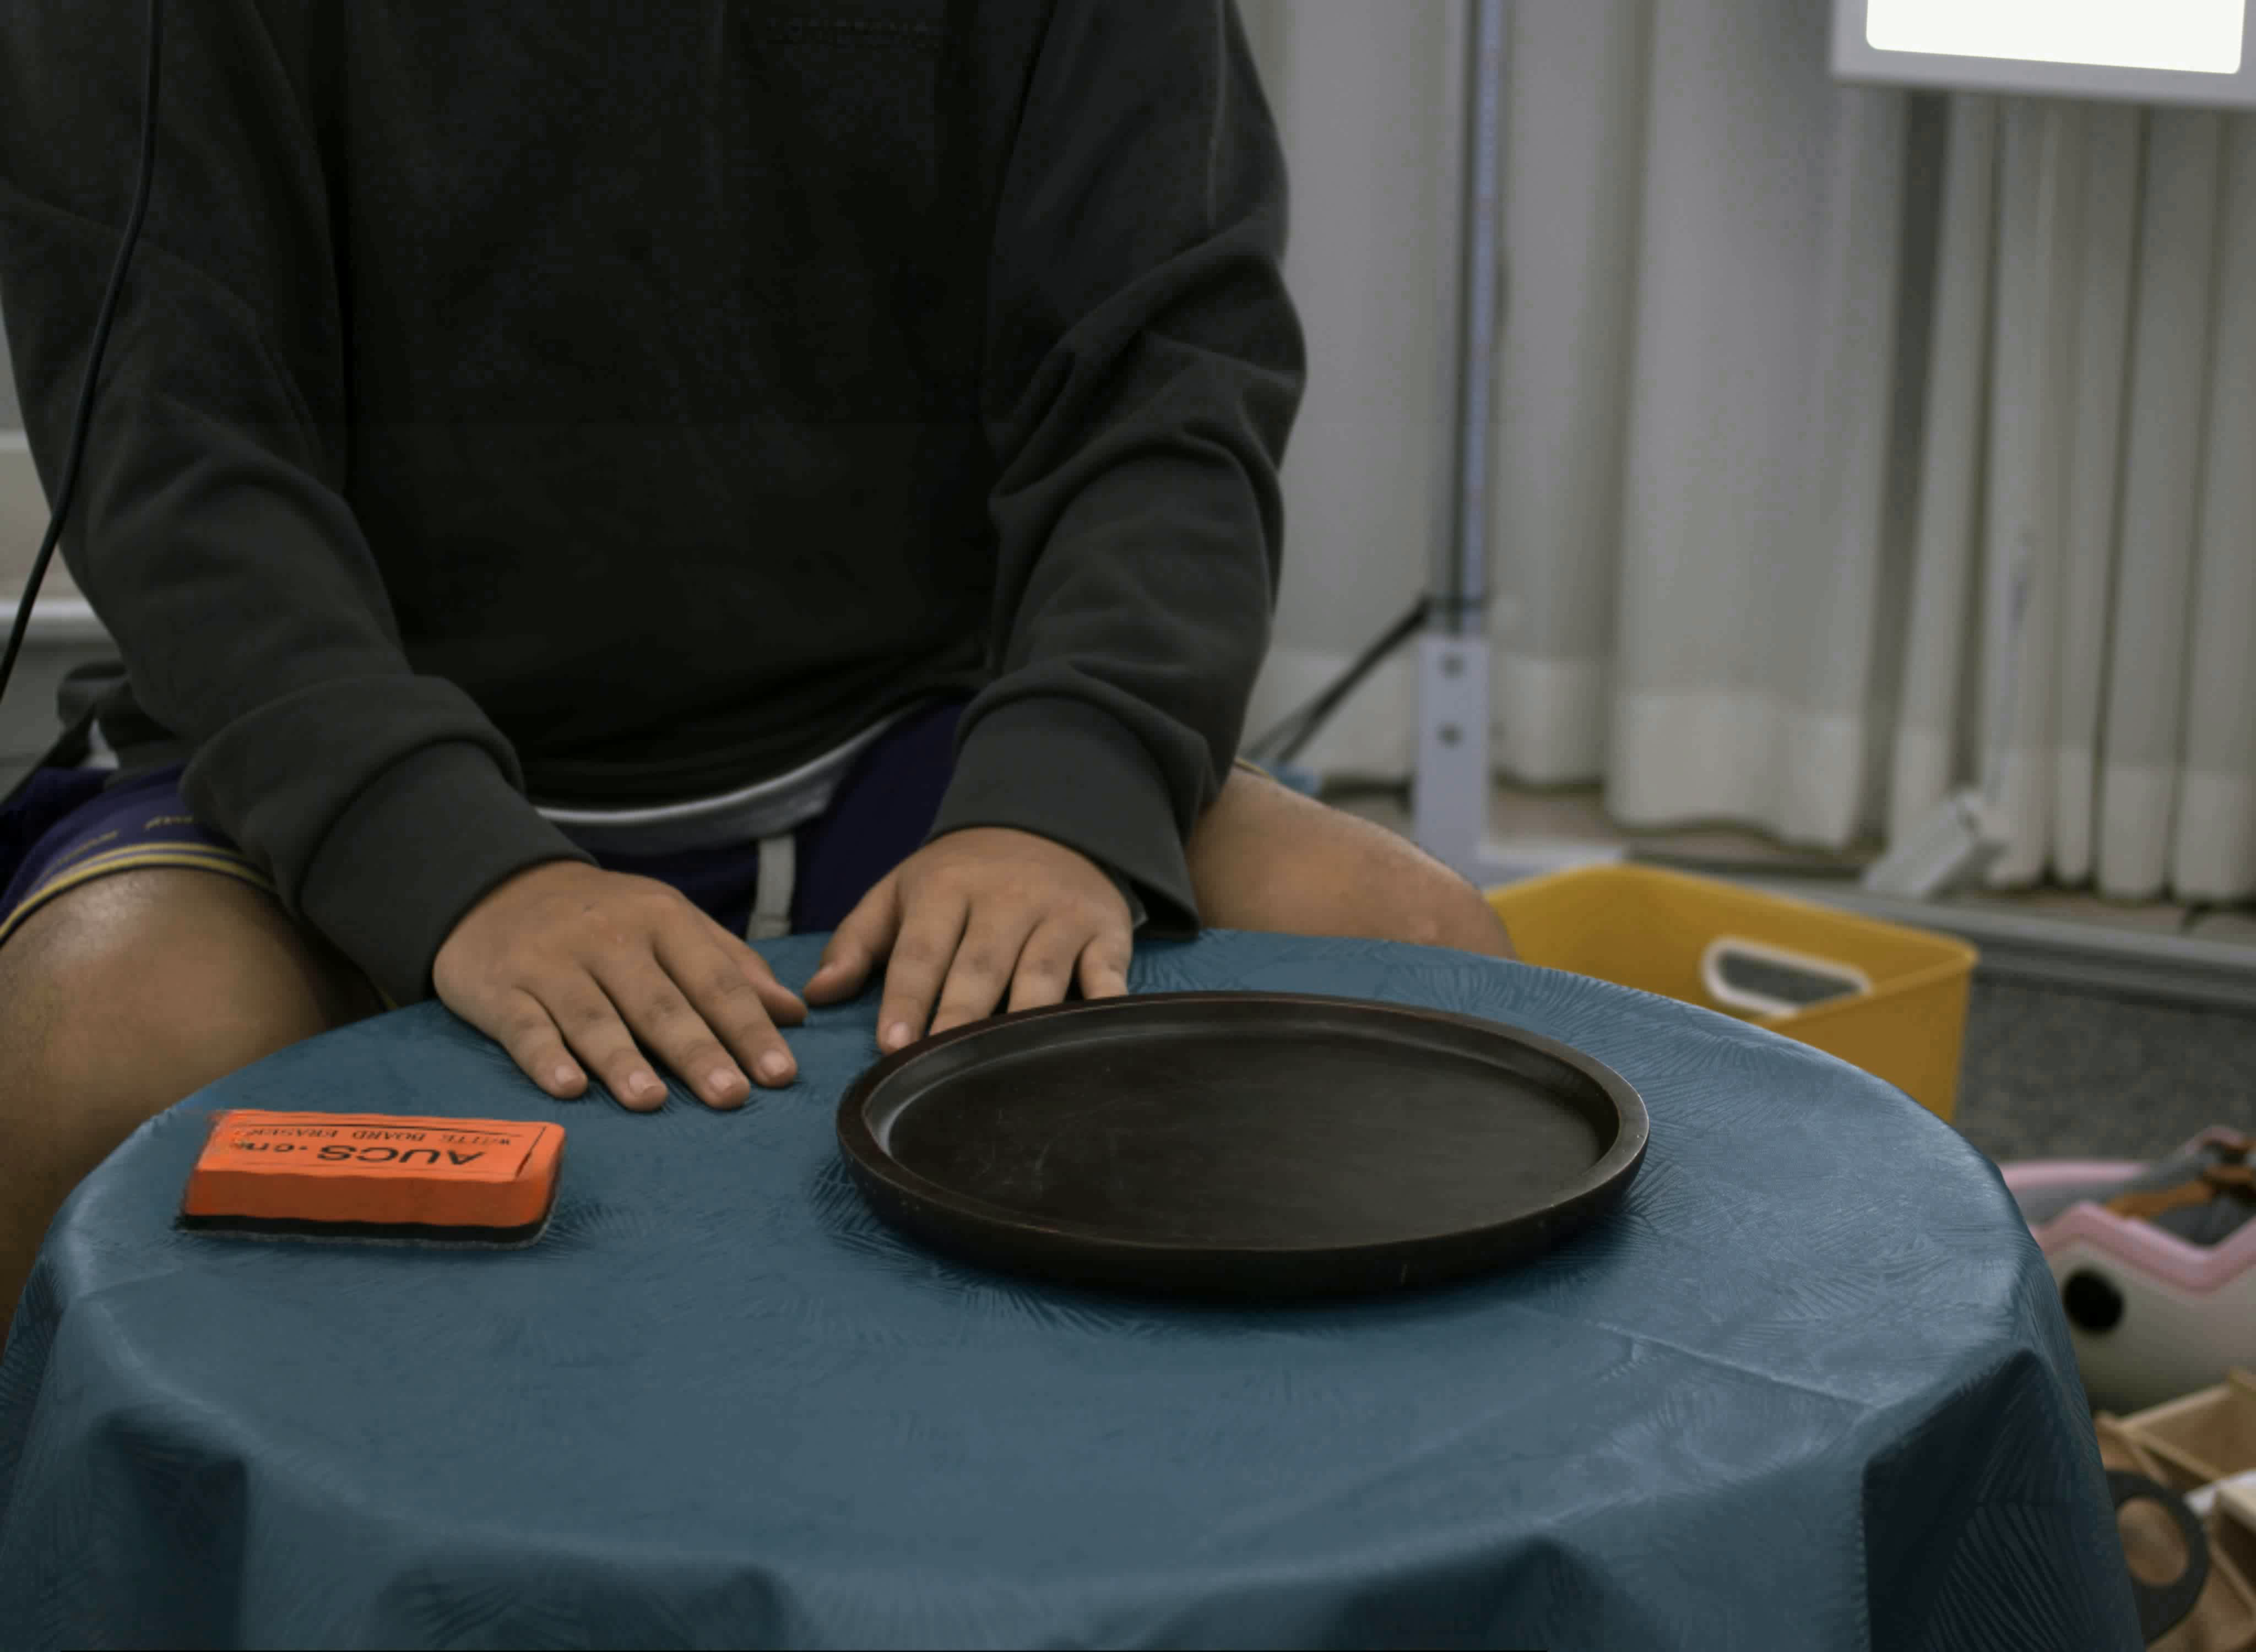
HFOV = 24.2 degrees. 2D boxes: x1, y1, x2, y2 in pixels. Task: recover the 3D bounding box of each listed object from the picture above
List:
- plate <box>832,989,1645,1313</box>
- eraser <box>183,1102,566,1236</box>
[{"bbox_3d":[0.034,0.098,1.634,0.254,0.029,0.253,0,16,1],"label":"plate"},{"bbox_3d":[-0.227,0.103,1.591,0.107,0.023,0.059,1,16,6],"label":"eraser"}]
